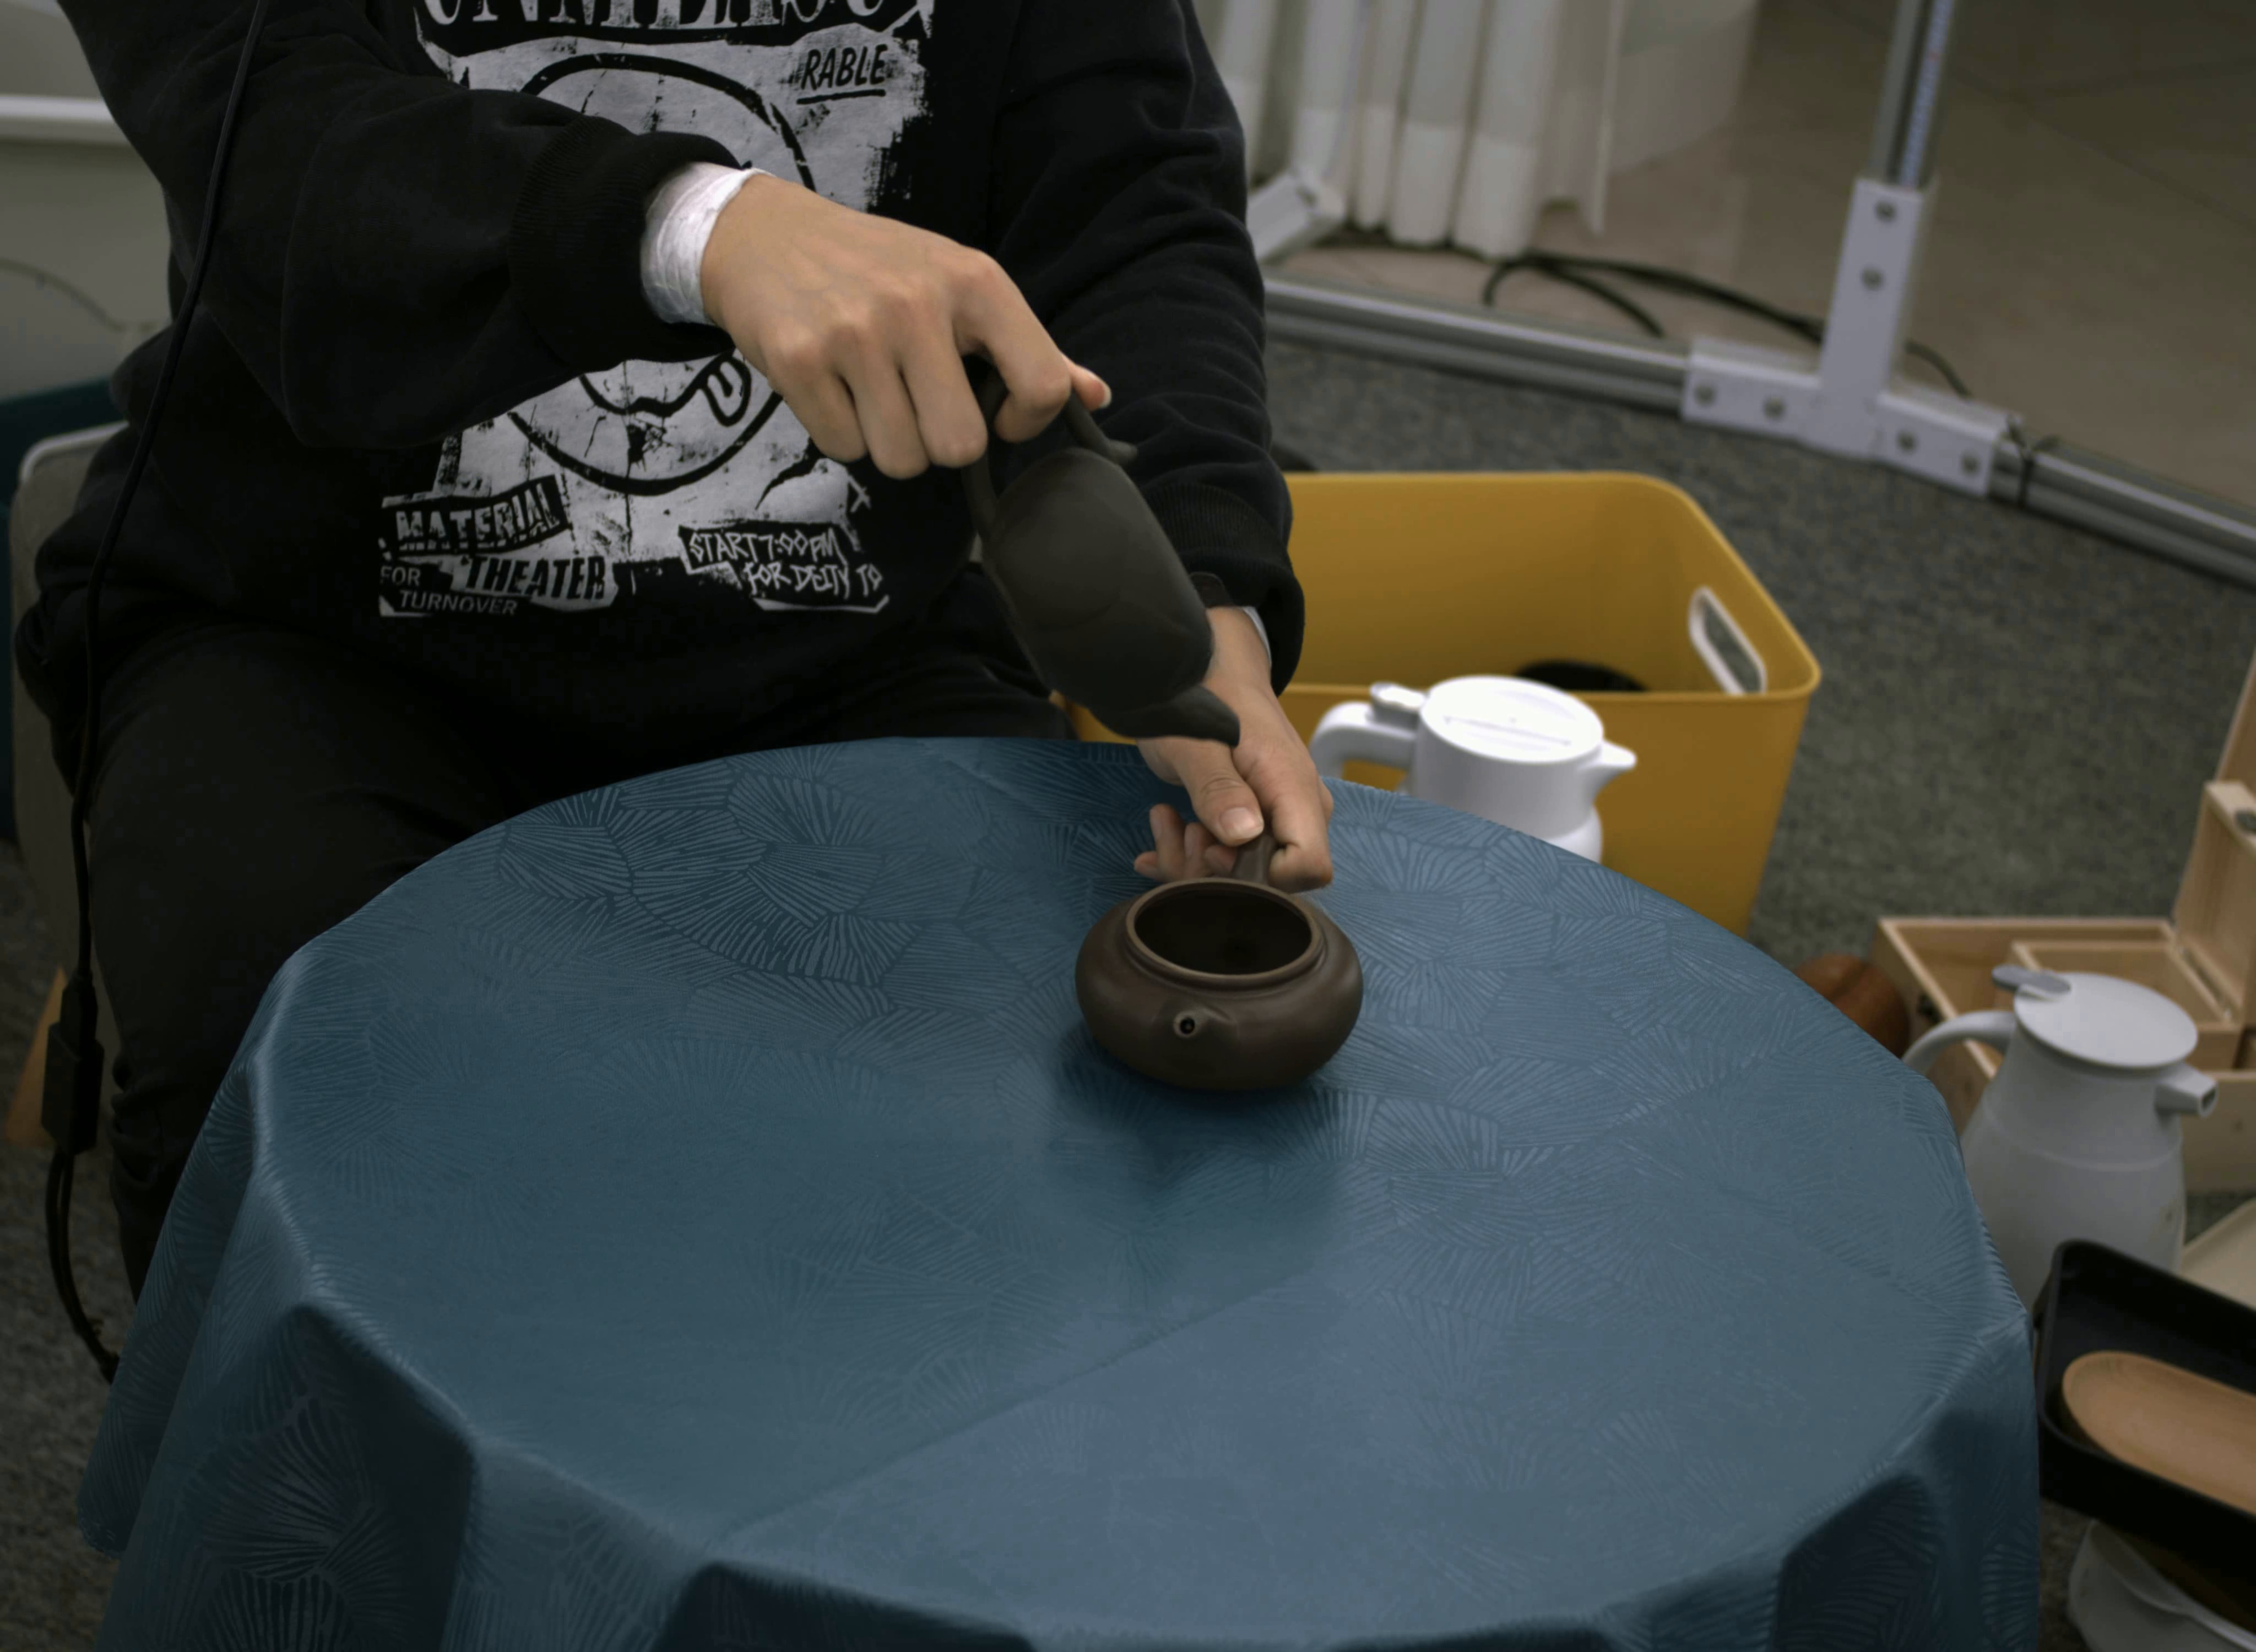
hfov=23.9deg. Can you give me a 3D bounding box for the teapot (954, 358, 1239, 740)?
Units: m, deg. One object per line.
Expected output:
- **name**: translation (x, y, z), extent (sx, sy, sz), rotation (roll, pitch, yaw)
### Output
- **teapot**: translation (-0.013, -0.087, 1.799), extent (0.064, 0.154, 0.093), rotation (-29, 14, -5)

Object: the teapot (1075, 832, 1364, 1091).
- **teapot**: translation (0.033, 0.052, 1.890), extent (0.102, 0.053, 0.154), rotation (8, 31, 3)
